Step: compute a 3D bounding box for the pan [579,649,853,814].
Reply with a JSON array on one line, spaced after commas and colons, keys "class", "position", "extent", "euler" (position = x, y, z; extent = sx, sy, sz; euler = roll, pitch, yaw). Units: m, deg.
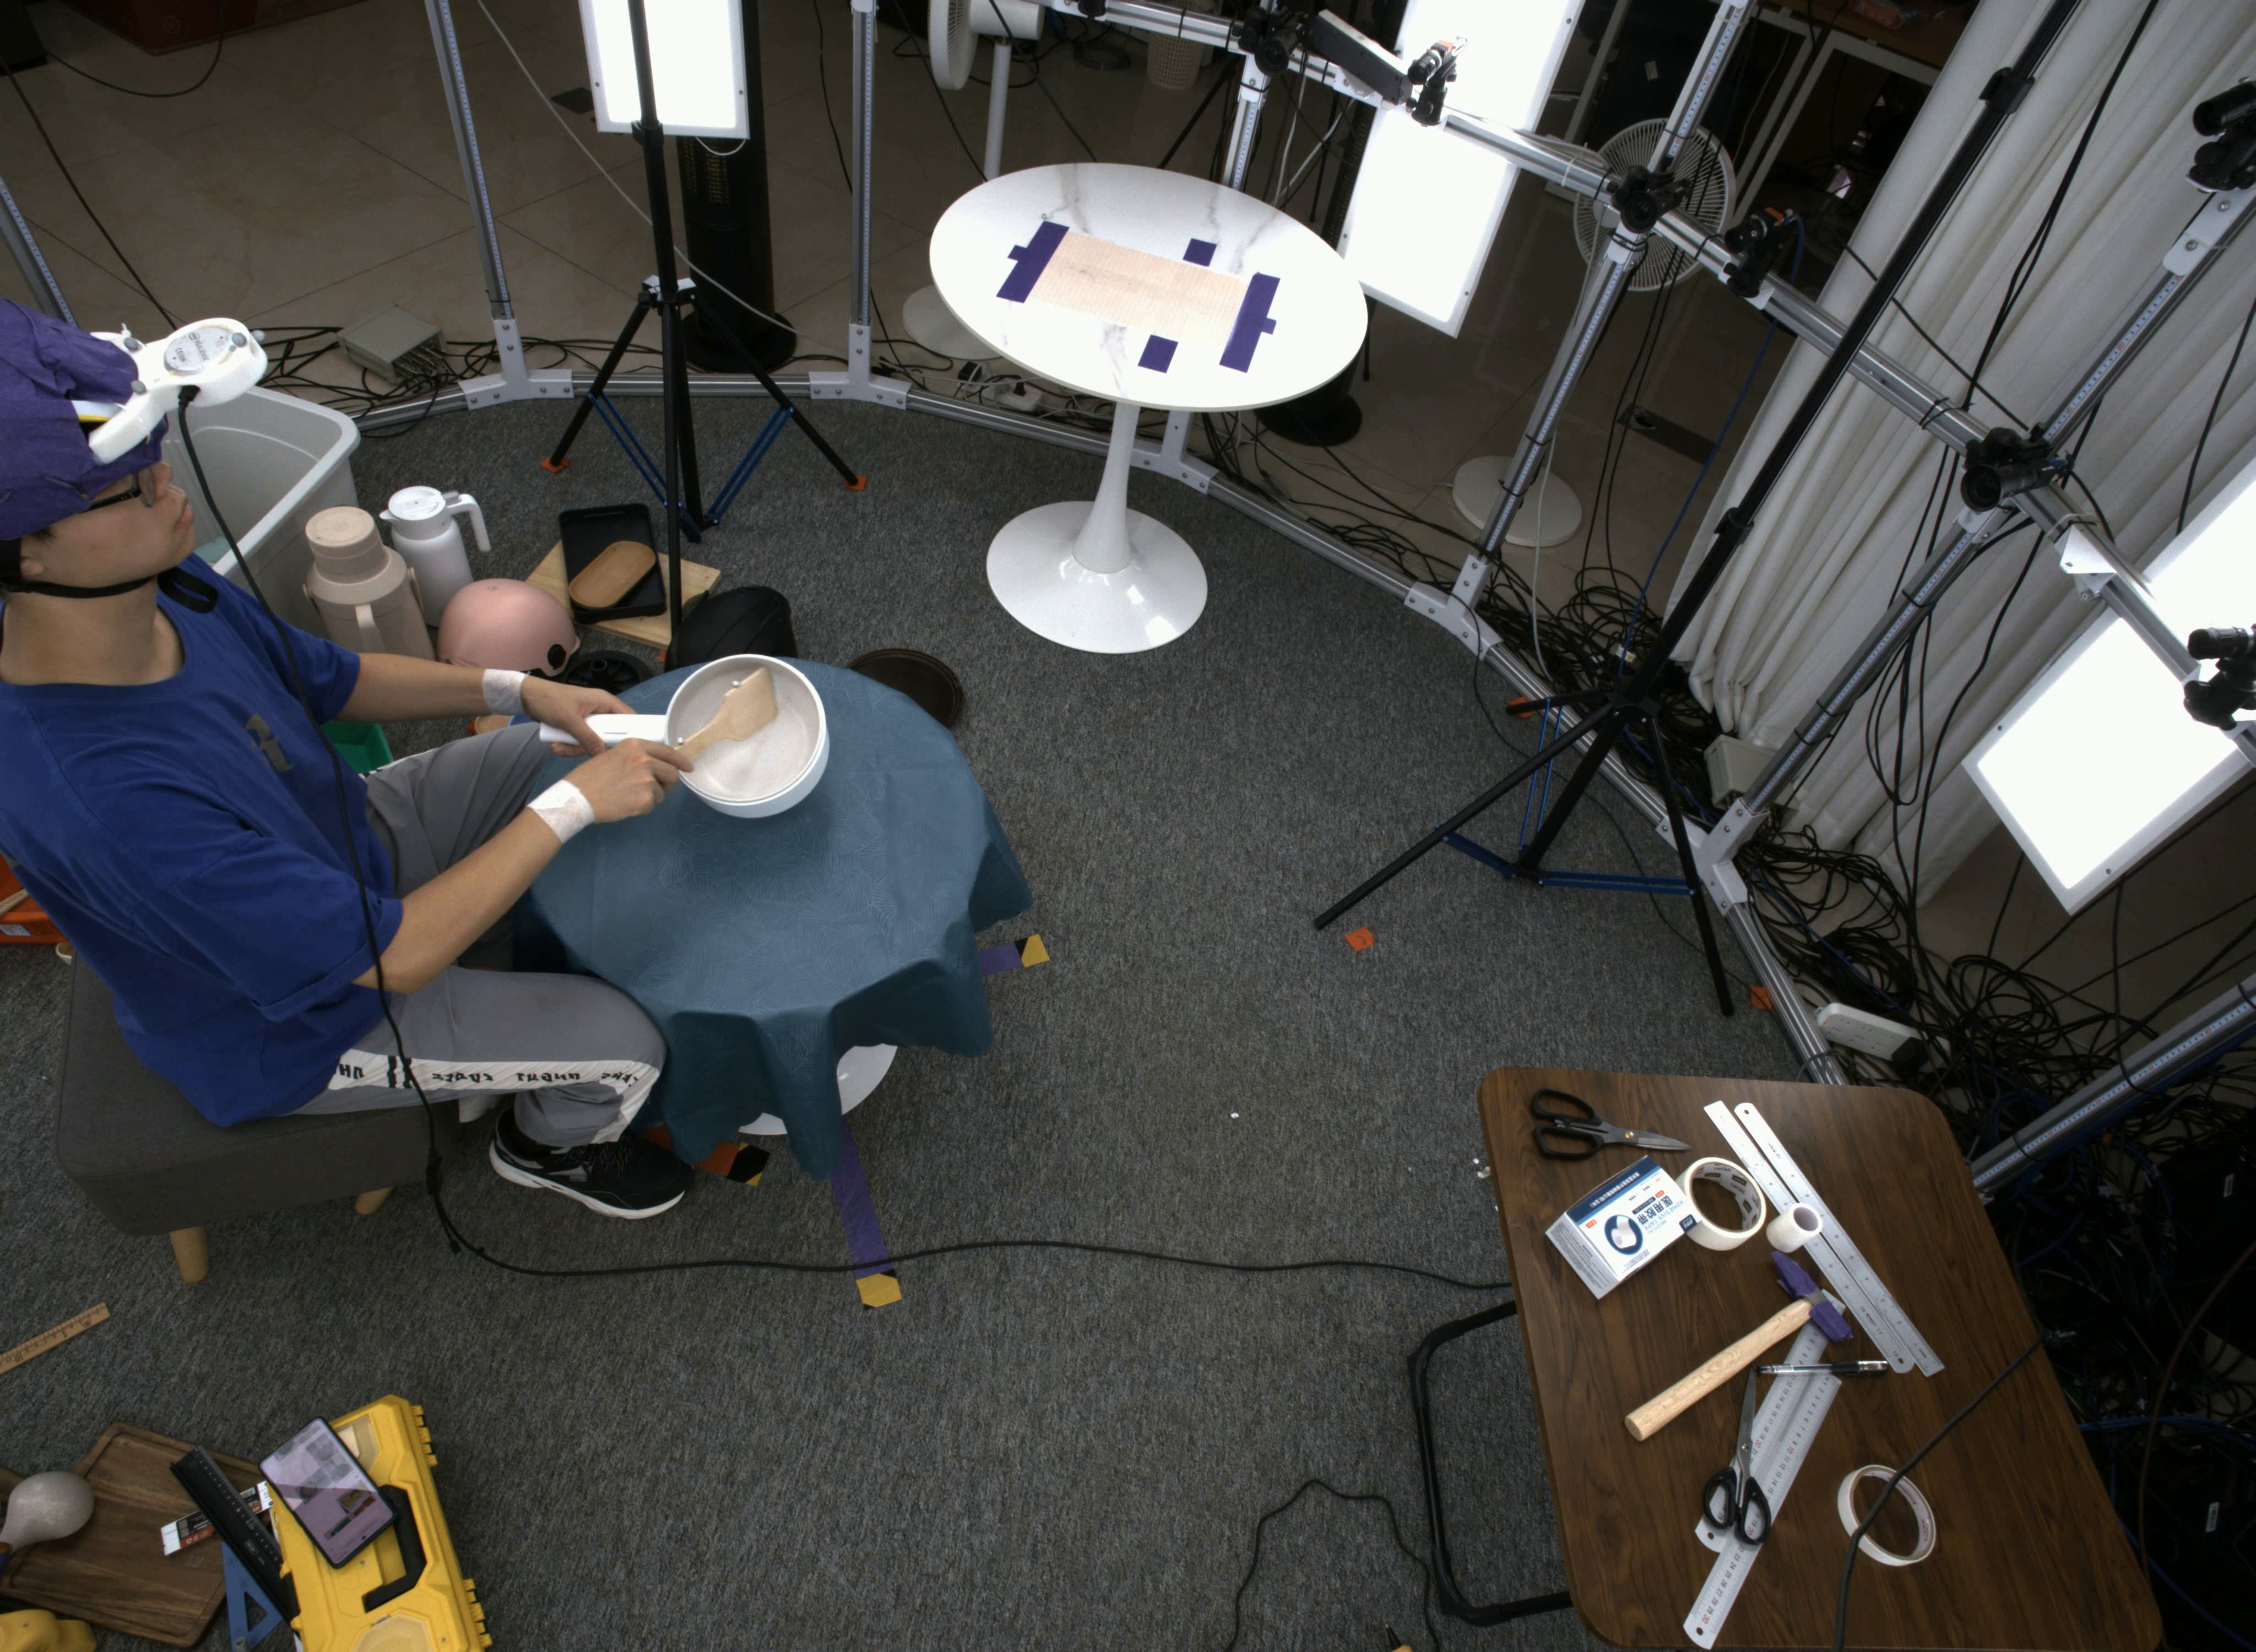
[{"class": "pan", "position": [-0.533, -0.119, 1.670], "extent": [0.353, 0.102, 0.201], "euler": [1, 78, -7]}]

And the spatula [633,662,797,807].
[{"class": "spatula", "position": [-0.501, -0.109, 1.573], "extent": [0.010, 0.075, 0.292], "euler": [14, 38, 23]}]
